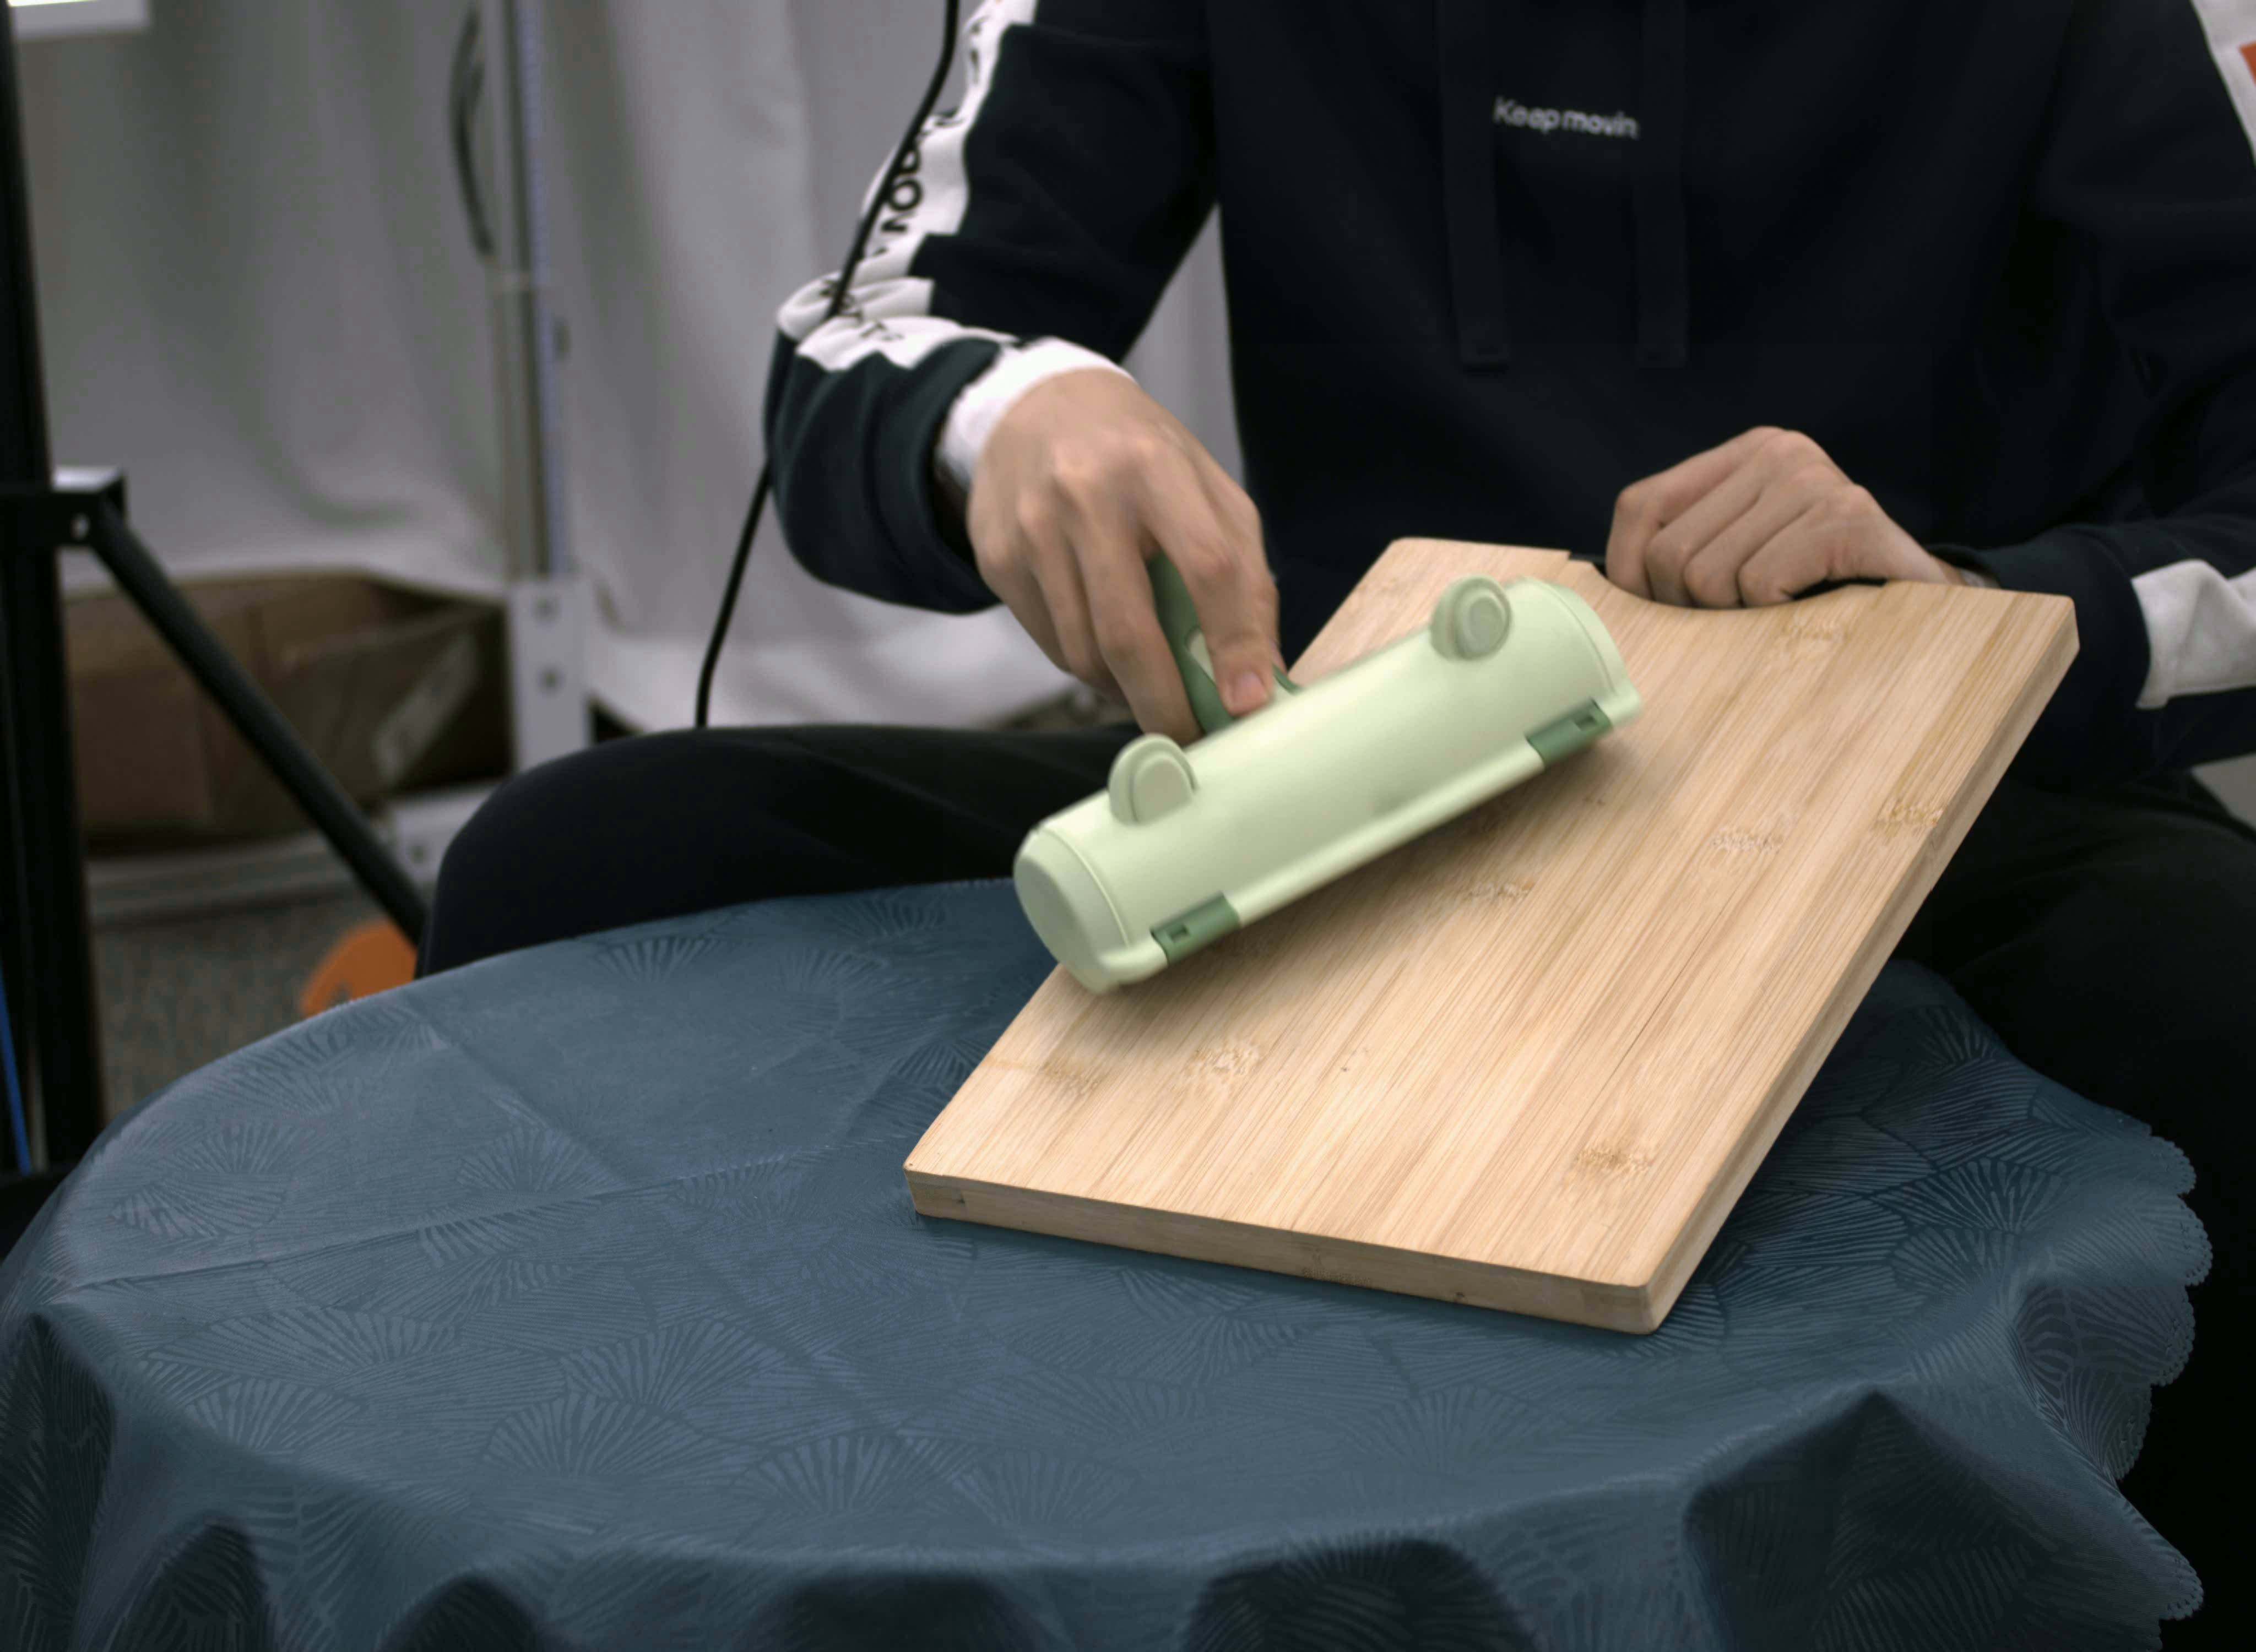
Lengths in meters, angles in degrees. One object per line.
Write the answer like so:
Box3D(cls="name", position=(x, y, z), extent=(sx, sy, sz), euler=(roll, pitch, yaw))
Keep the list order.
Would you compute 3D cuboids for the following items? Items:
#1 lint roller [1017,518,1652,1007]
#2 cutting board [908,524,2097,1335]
Box3D(cls="lint roller", position=(0.032, -0.051, 1.620), extent=(0.196, 0.081, 0.187), euler=(-27, 56, -17))
Box3D(cls="cutting board", position=(0.118, 0.020, 1.598), extent=(0.255, 0.023, 0.346), euler=(6, 39, 30))
